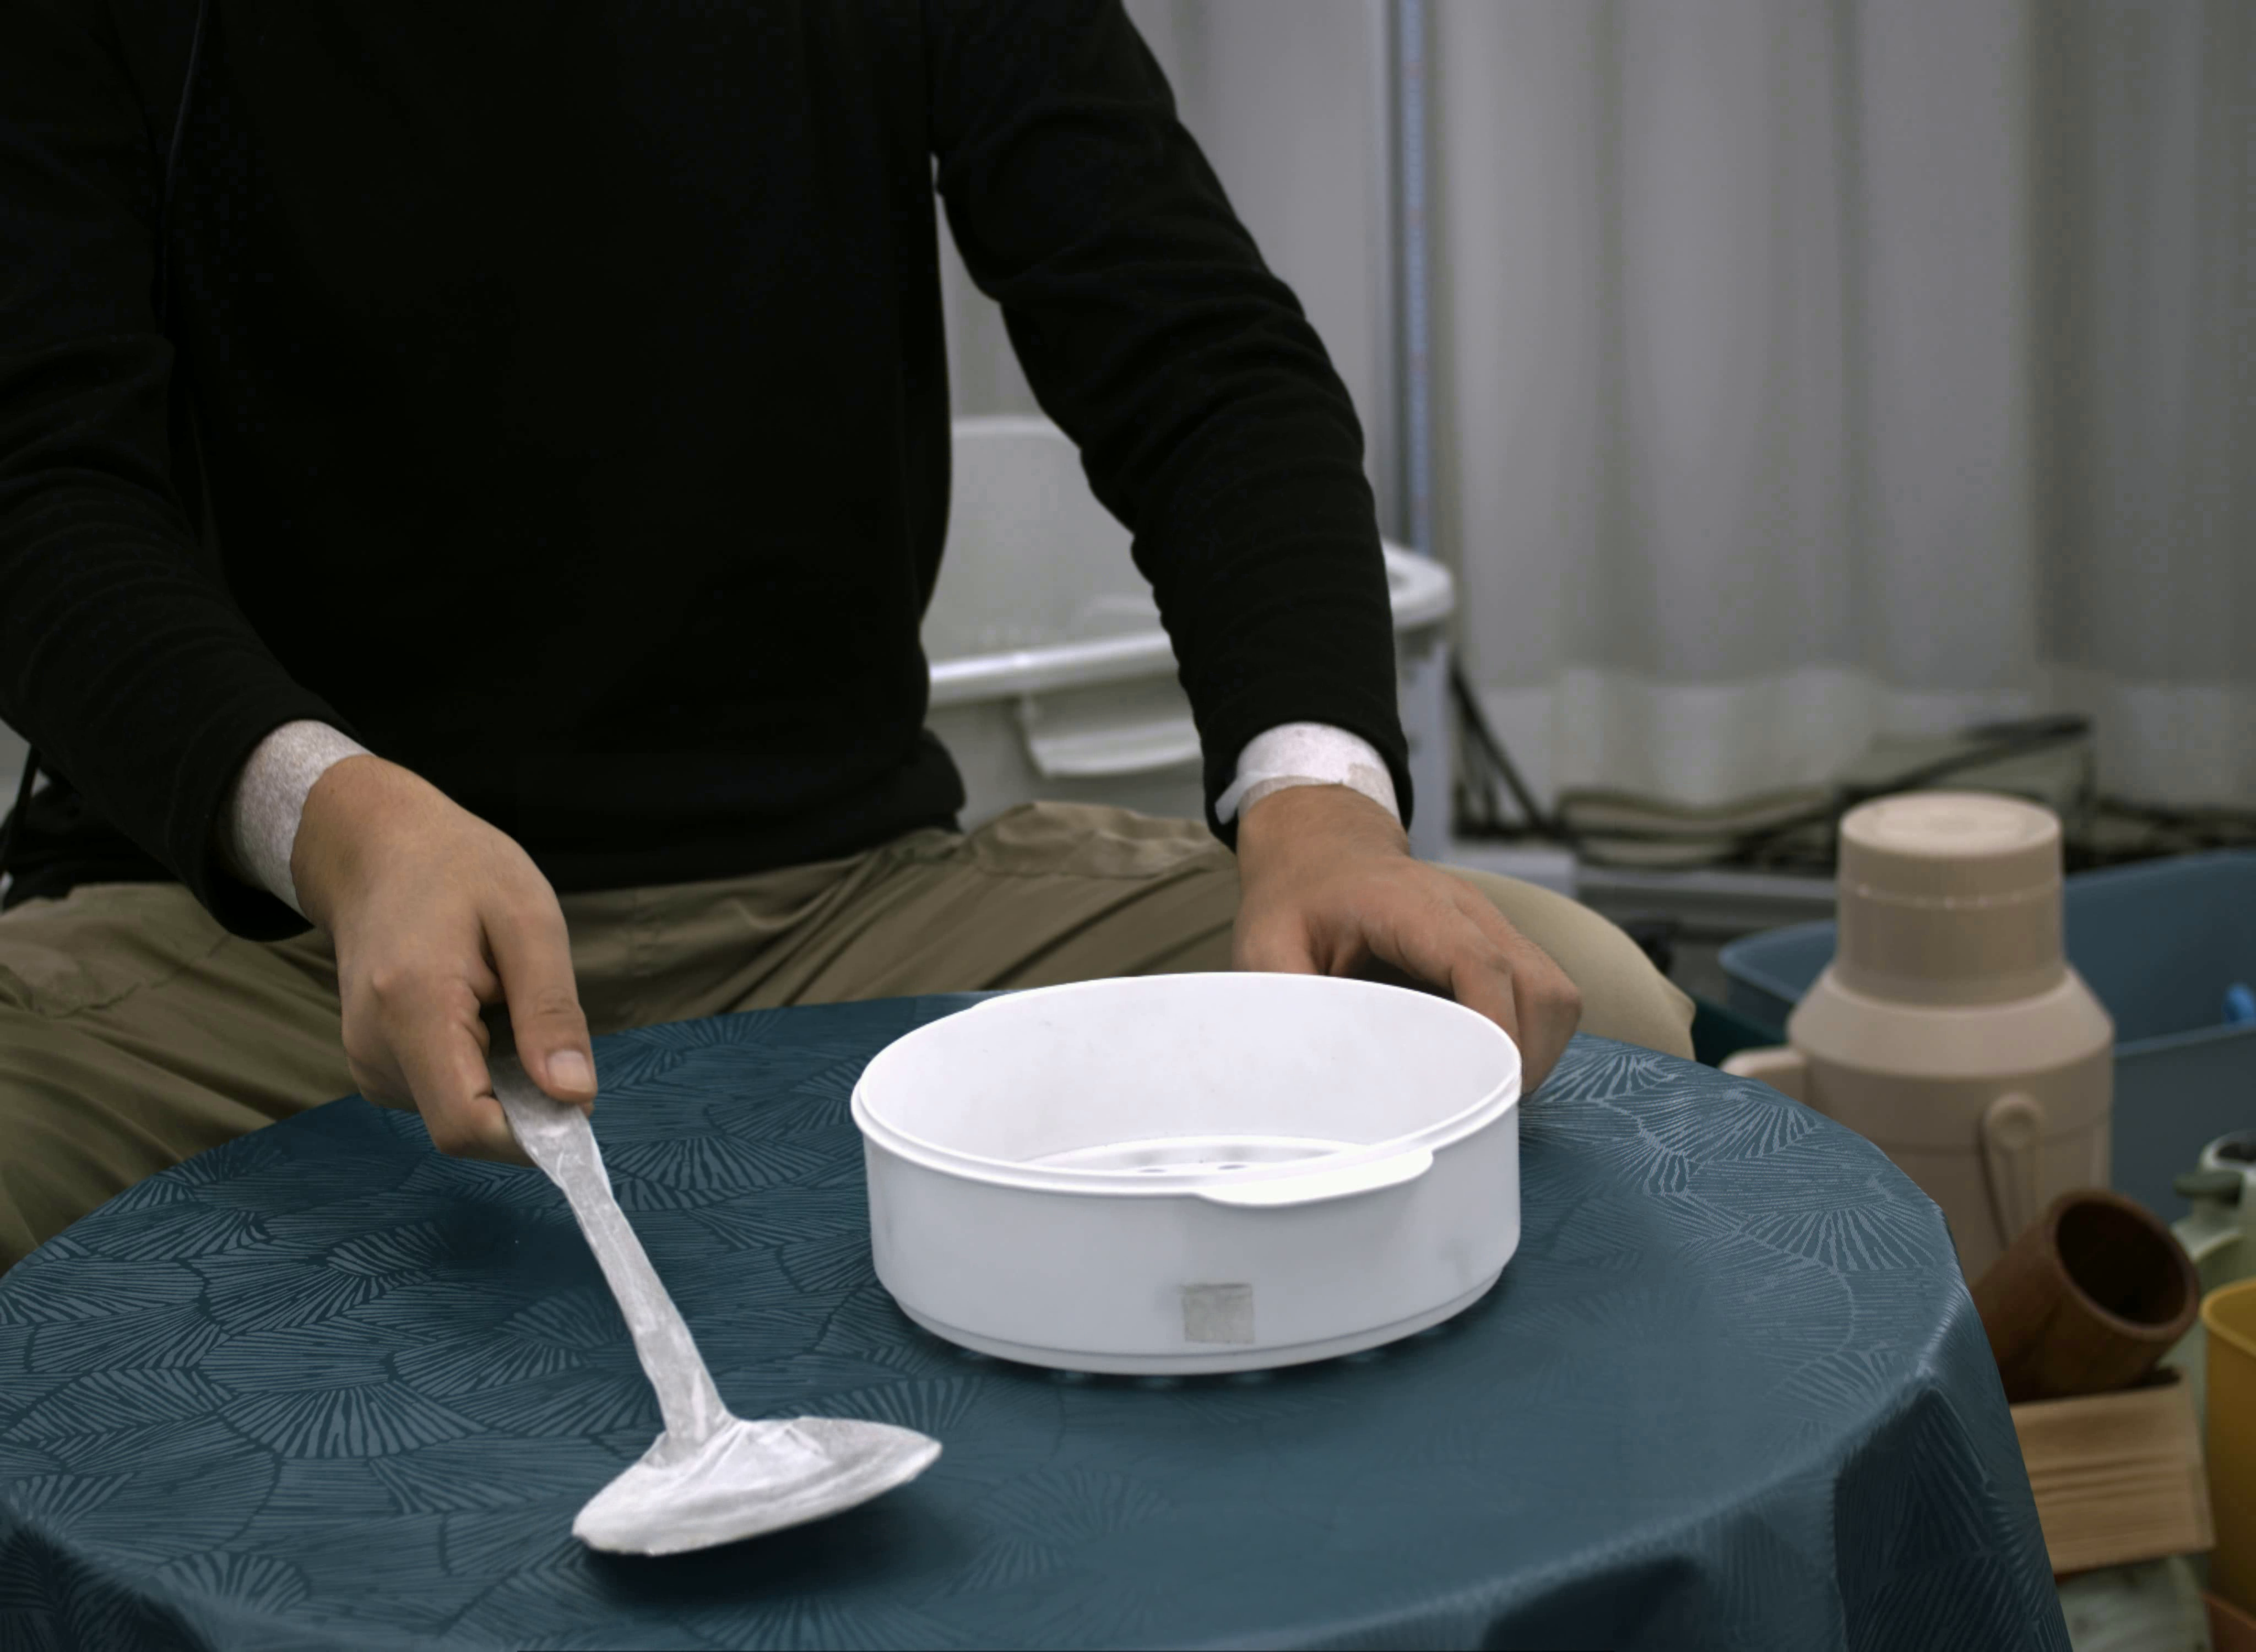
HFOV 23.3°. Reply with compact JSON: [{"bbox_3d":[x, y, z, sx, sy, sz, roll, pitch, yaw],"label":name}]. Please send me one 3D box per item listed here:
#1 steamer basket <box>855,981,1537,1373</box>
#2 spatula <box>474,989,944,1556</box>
[{"bbox_3d":[0.021,0.103,1.618,0.201,0.069,0.232,-7,14,-20],"label":"steamer basket"},{"bbox_3d":[-0.144,0.117,1.567,0.098,0.044,0.369,-17,31,-13],"label":"spatula"}]
